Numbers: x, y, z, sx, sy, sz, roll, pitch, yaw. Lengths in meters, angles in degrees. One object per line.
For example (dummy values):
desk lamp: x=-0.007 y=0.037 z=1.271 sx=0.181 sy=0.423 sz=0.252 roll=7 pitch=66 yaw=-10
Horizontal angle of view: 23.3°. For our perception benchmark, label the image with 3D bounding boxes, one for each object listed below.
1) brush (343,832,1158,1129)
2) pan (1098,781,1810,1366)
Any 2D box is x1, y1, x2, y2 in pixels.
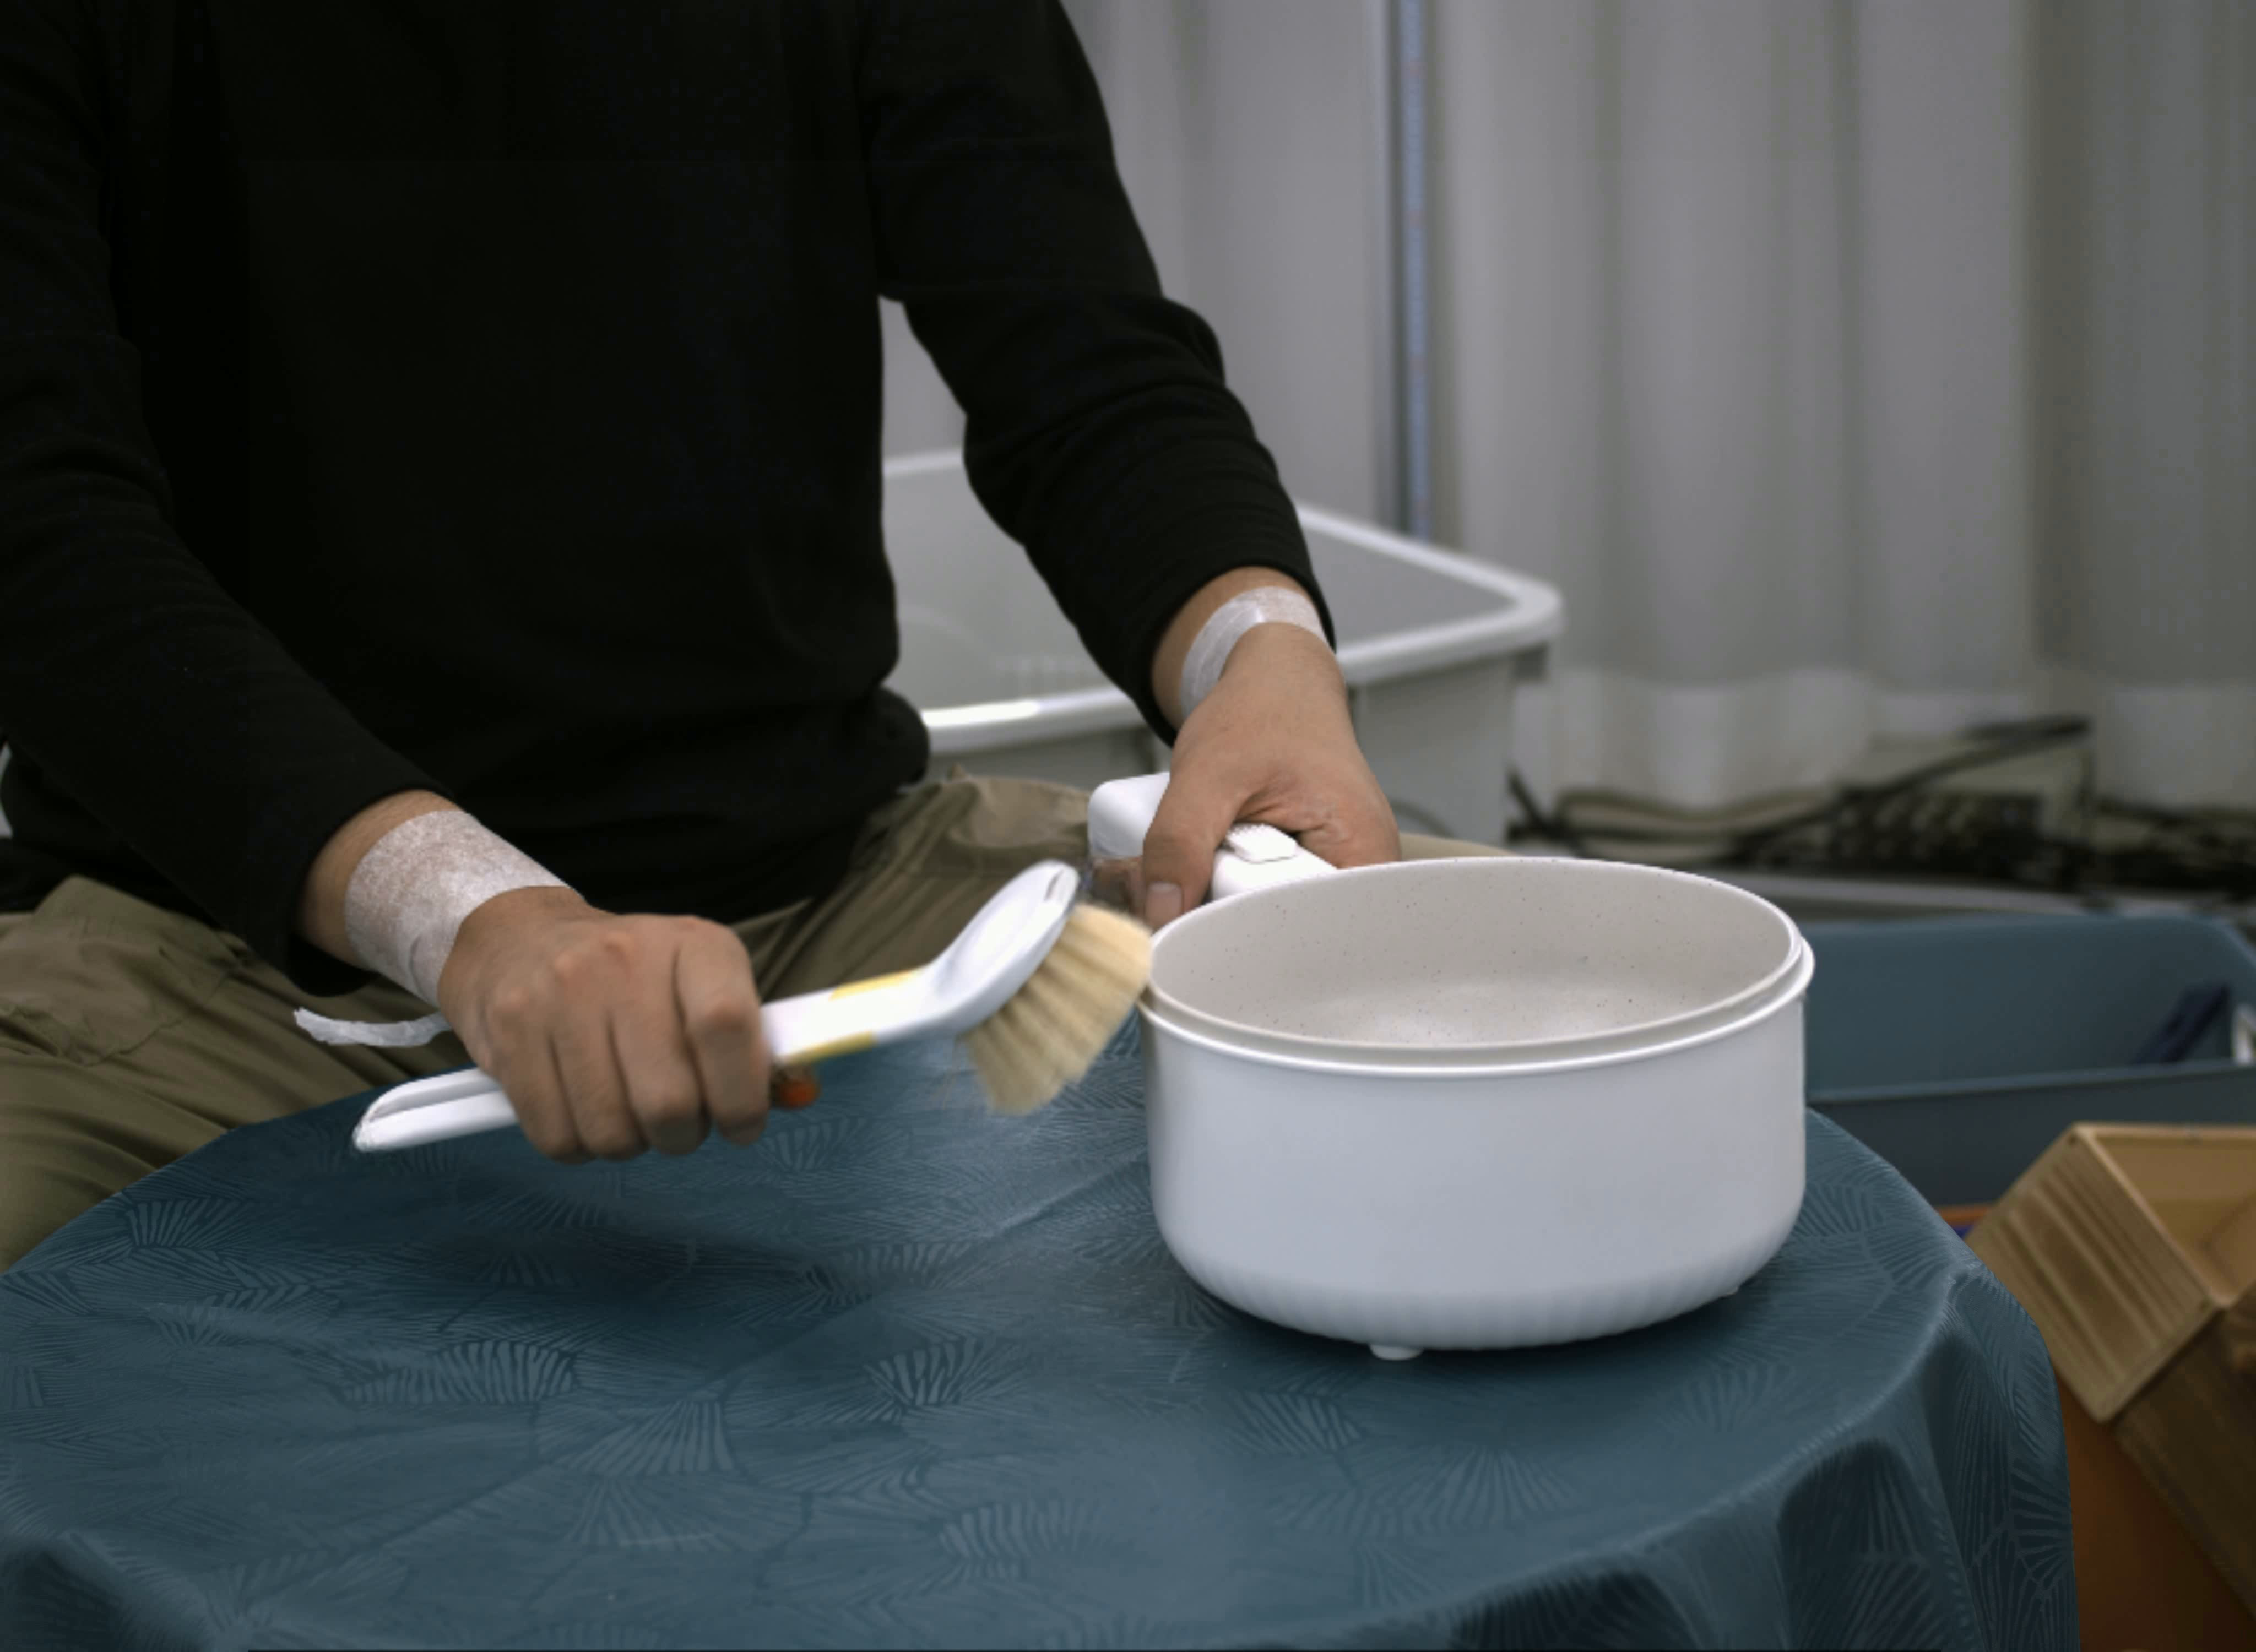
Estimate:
brush: x=-0.111 y=0.067 z=1.636 sx=0.266 sy=0.056 sz=0.069 roll=-19 pitch=18 yaw=21
pan: x=0.073 y=0.069 z=1.685 sx=0.200 sy=0.102 sz=0.357 roll=-10 pitch=15 yaw=-20
